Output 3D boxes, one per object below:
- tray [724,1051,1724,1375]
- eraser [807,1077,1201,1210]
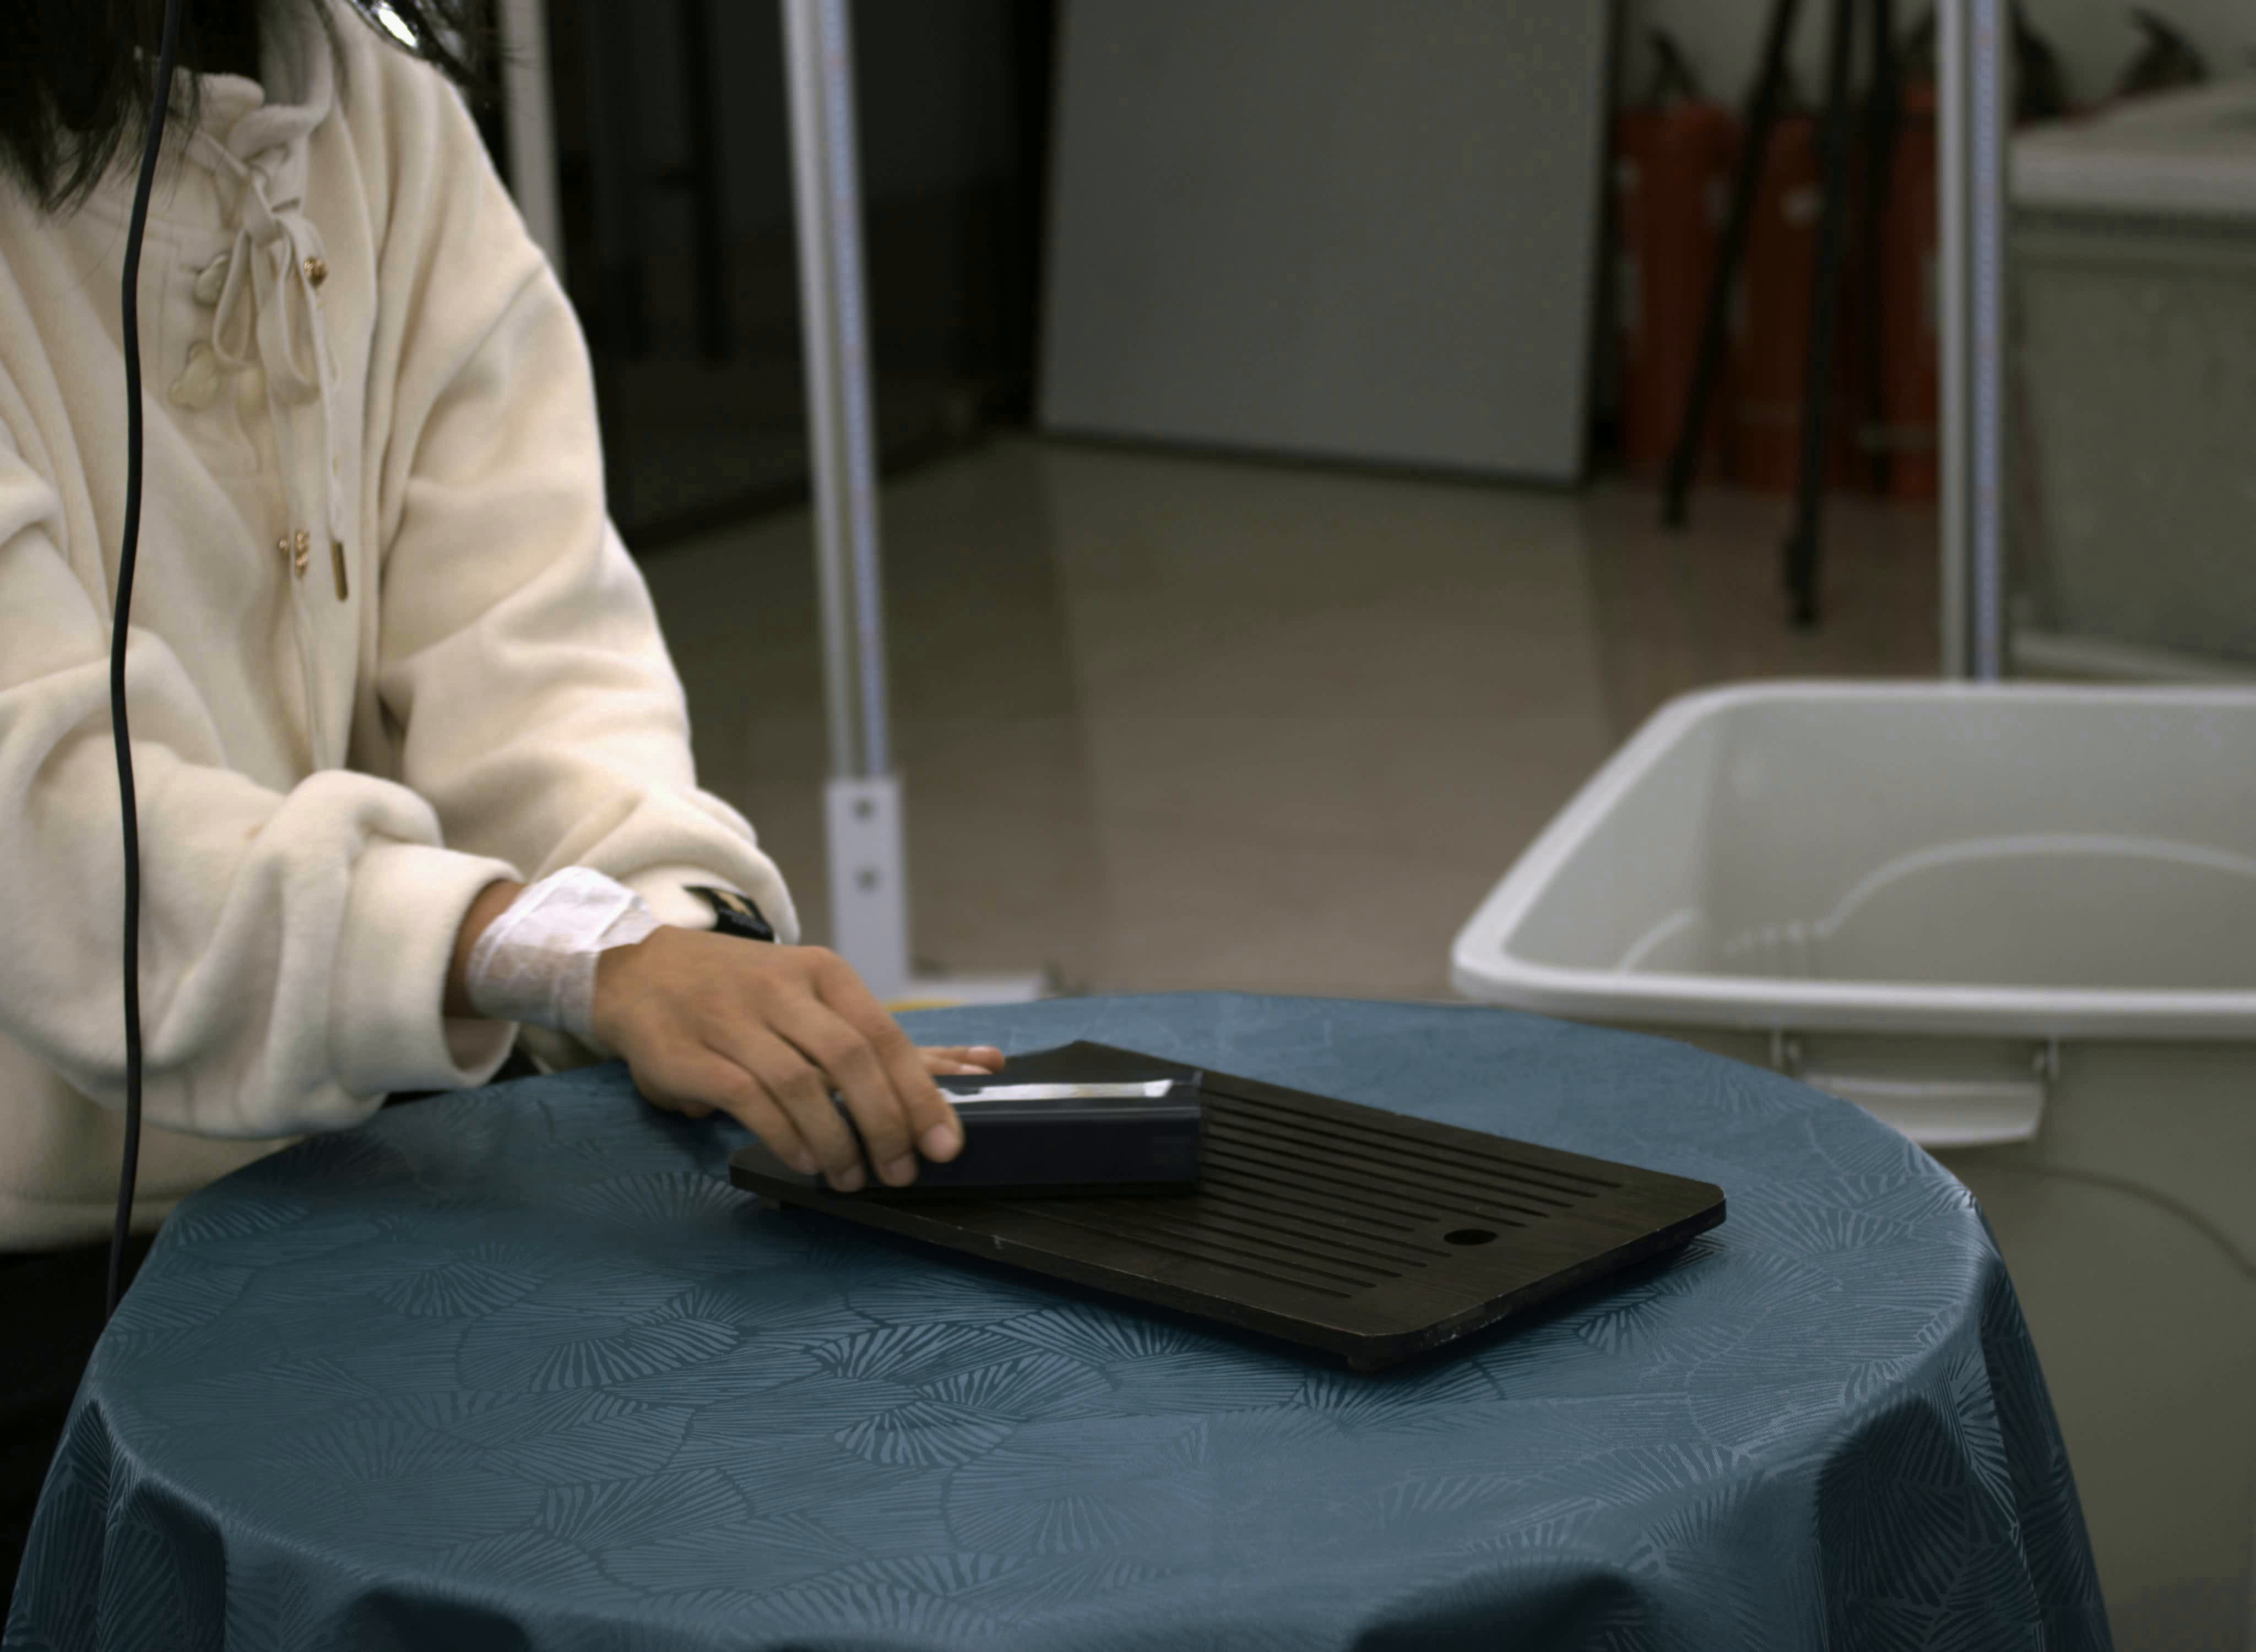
[{"bbox_3d":[0.027,0.121,1.725,0.166,0.019,0.309,-17,19,-42],"label":"tray"},{"bbox_3d":[-0.038,0.102,1.736,0.124,0.031,0.053,-3,10,9],"label":"eraser"}]
